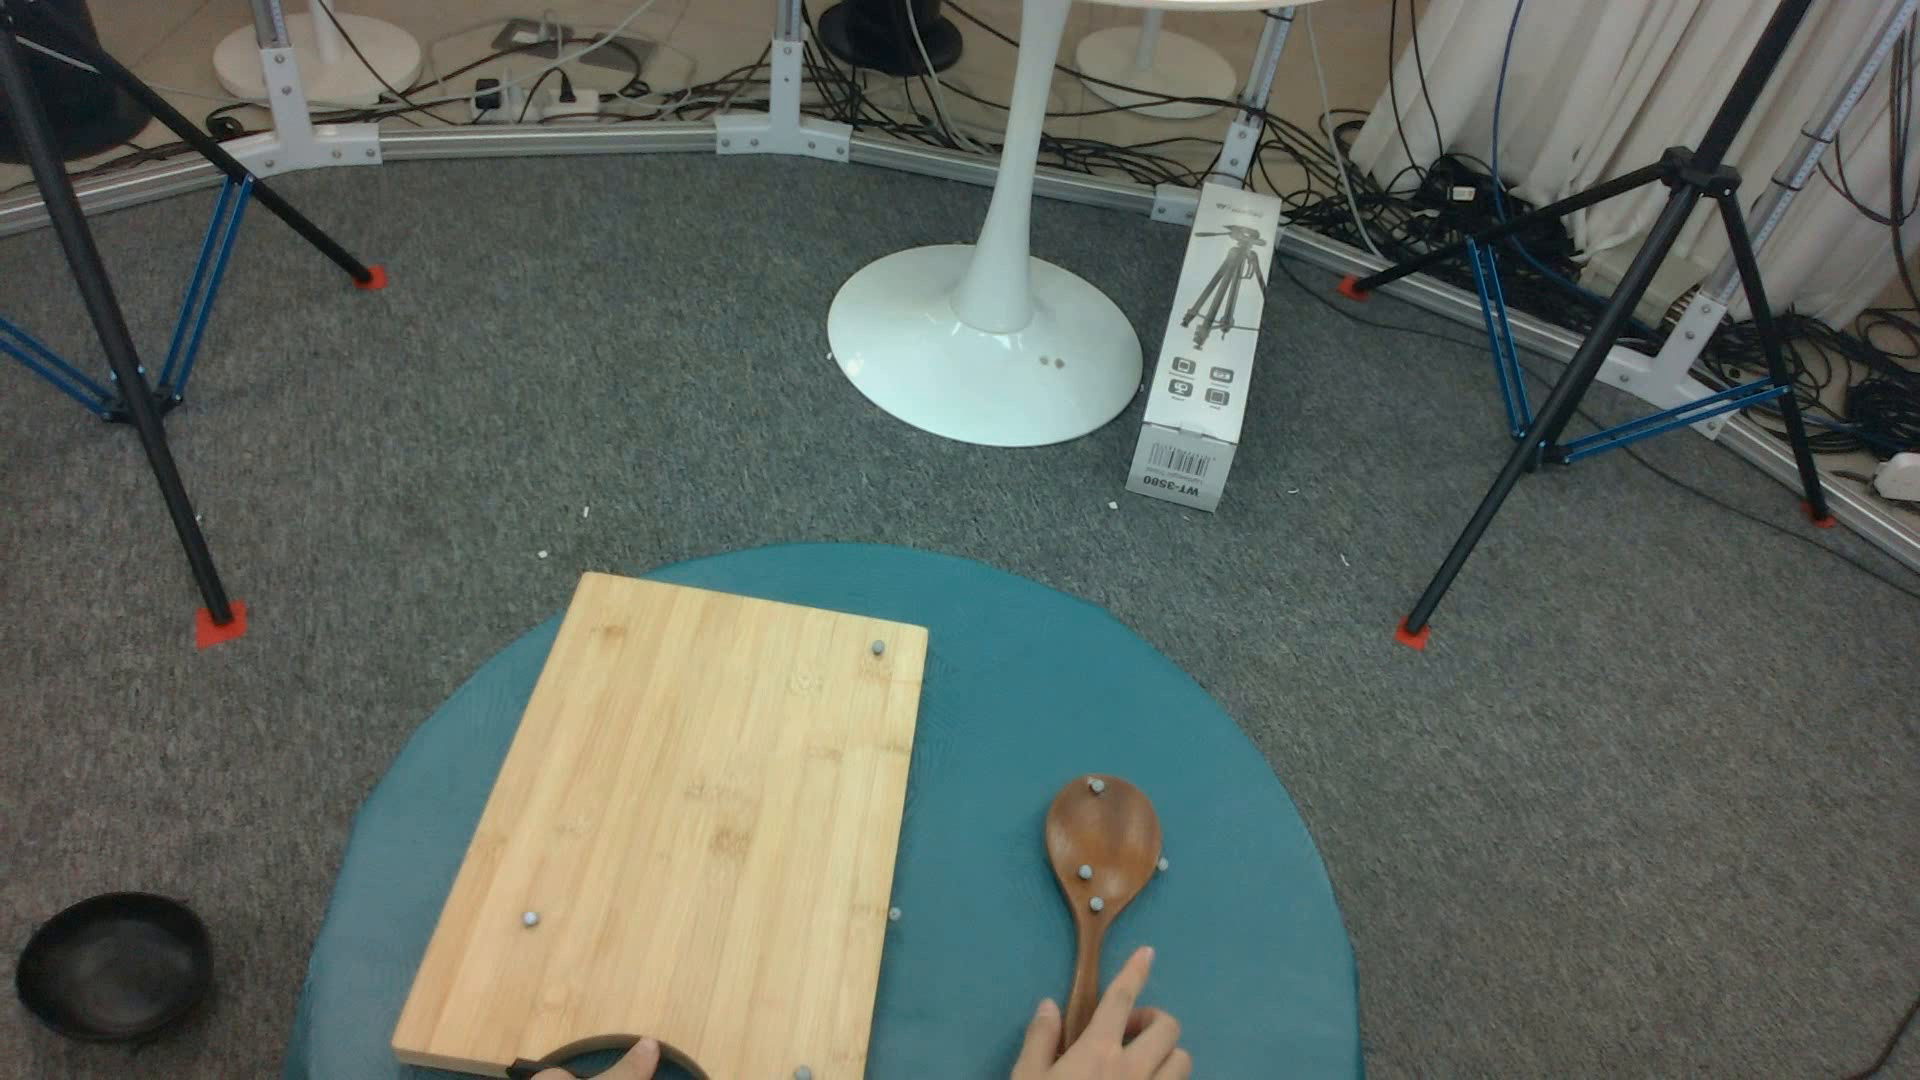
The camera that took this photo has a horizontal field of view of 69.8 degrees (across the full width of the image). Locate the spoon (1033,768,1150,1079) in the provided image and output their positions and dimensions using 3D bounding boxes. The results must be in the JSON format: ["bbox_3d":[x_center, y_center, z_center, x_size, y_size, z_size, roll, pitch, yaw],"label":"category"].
[{"bbox_3d":[0.072,0.227,0.817,0.075,0.017,0.217,14,45,-1],"label":"spoon"}]

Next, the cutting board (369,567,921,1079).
[{"bbox_3d":[-0.163,0.164,0.824,0.251,0.023,0.350,9,44,-3],"label":"cutting board"}]
